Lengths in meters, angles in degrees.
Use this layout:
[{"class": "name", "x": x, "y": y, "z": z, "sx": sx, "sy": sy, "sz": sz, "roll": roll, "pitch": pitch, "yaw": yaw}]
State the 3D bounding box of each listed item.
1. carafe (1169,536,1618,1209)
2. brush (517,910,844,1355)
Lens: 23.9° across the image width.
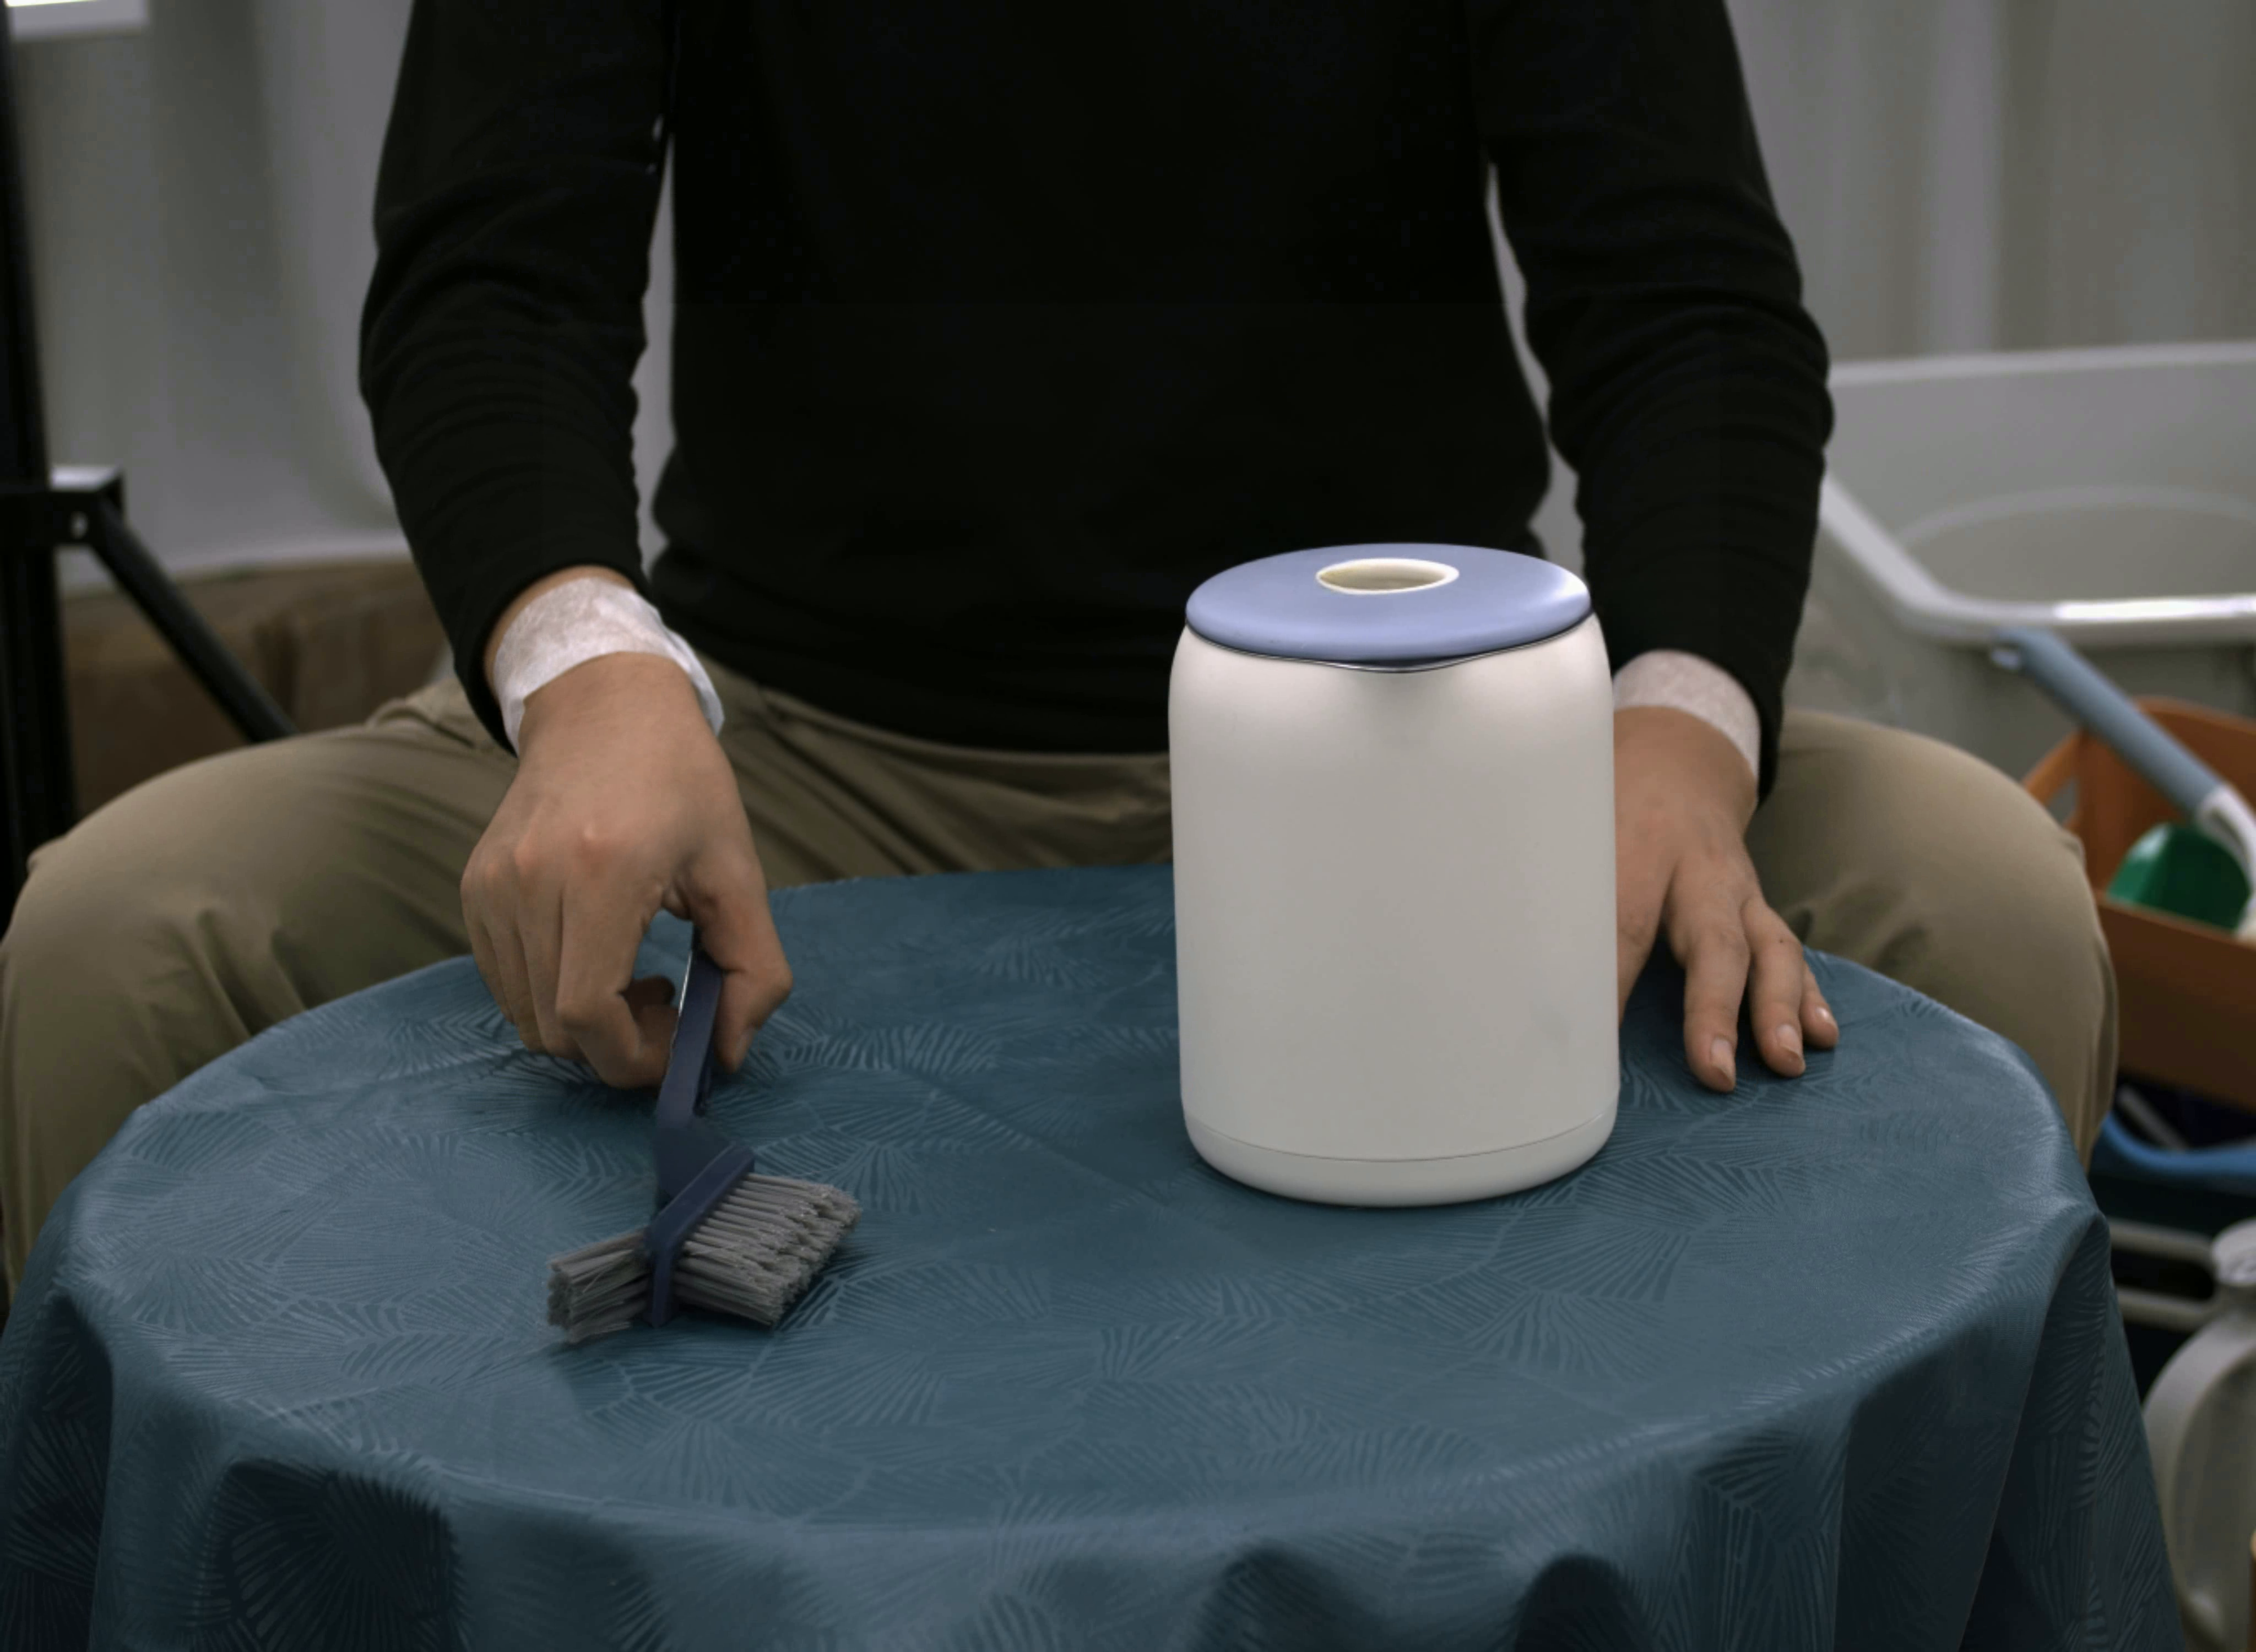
[{"class": "carafe", "x": 0.077, "y": 0.006, "z": 1.589, "sx": 0.131, "sy": 0.182, "sz": 0.192, "roll": -2, "pitch": 14, "yaw": -2}, {"class": "brush", "x": -0.138, "y": 0.087, "z": 1.584, "sx": 0.095, "sy": 0.033, "sz": 0.276, "roll": -4, "pitch": 19, "yaw": -7}]
